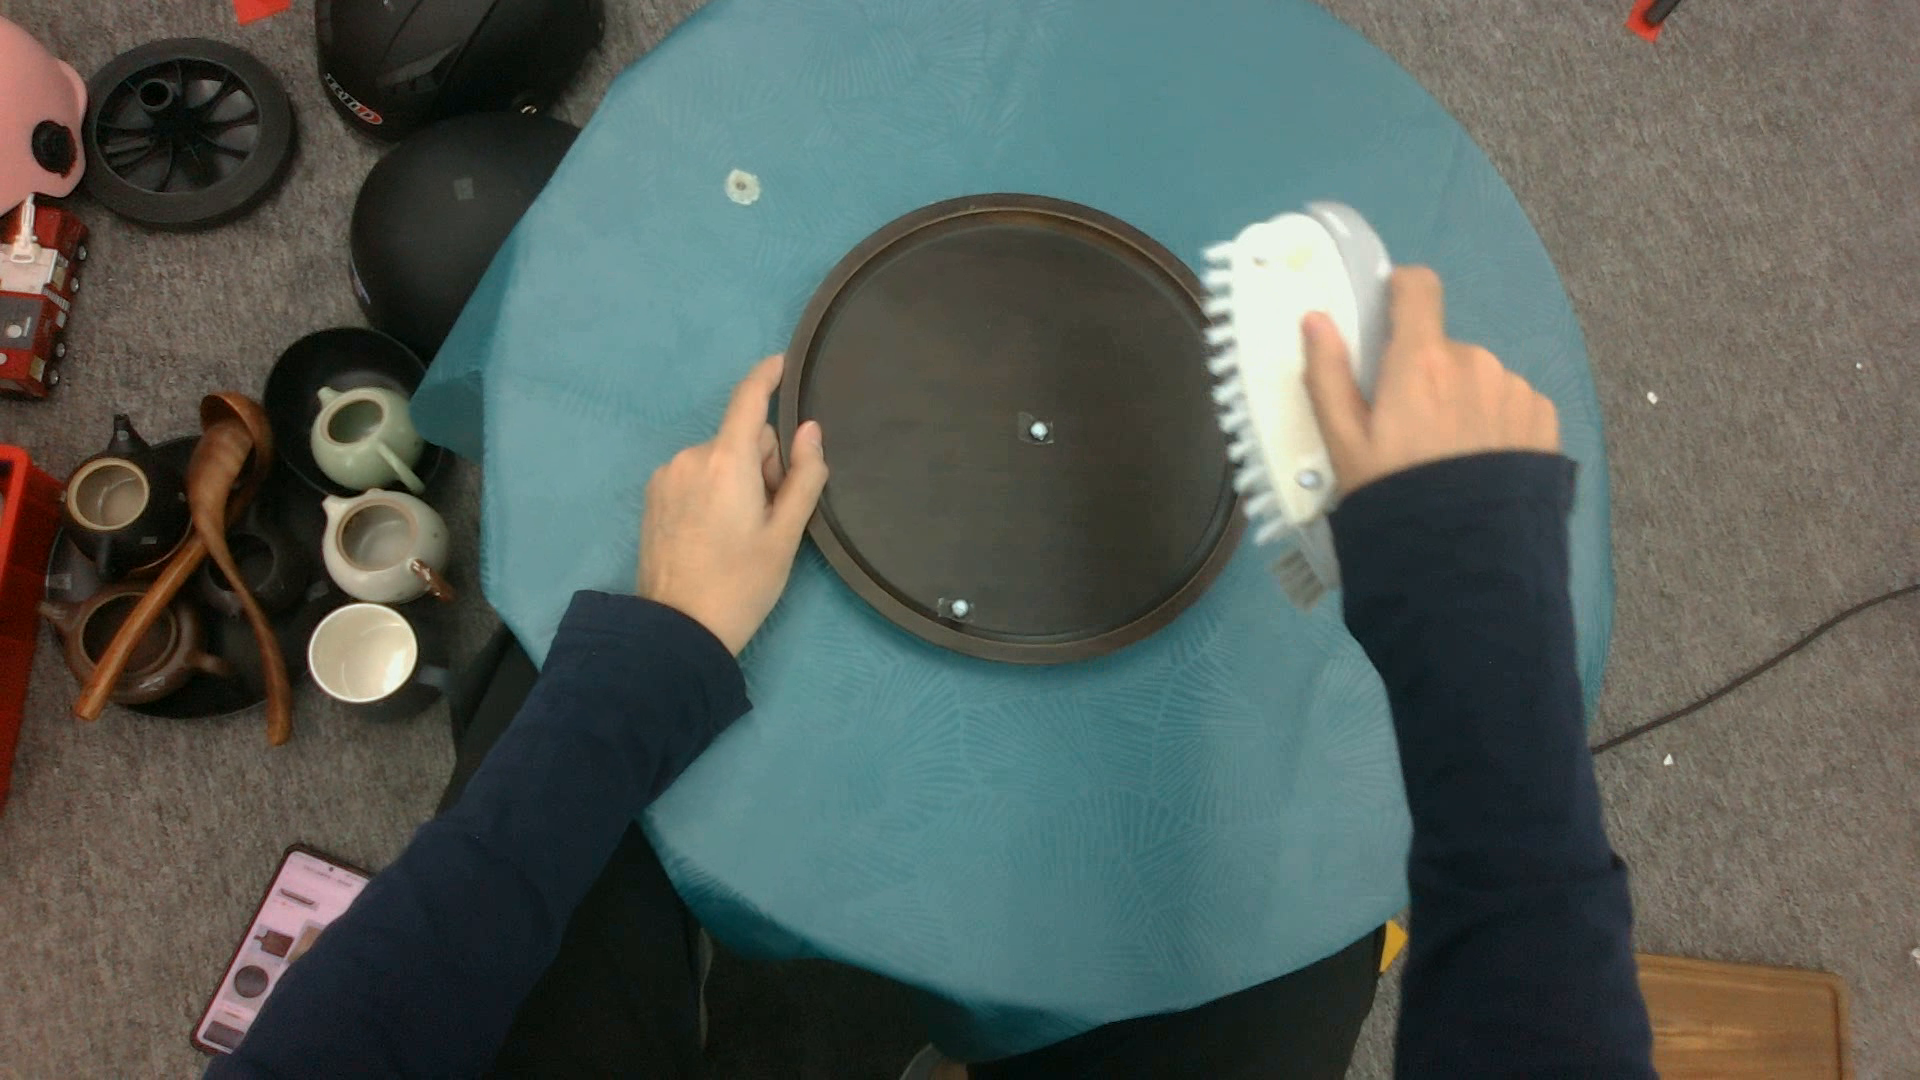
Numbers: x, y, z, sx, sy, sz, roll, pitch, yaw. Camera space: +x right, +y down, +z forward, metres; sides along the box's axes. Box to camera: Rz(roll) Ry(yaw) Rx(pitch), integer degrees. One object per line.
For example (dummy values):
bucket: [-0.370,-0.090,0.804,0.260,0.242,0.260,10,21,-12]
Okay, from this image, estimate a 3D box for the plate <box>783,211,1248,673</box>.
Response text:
plate: [0.034,-0.055,0.720,0.255,0.029,0.255,2,74,-8]

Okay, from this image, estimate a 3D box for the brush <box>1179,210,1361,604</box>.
brush: [0.151,-0.062,0.619,0.061,0.094,0.175,-6,82,-16]
